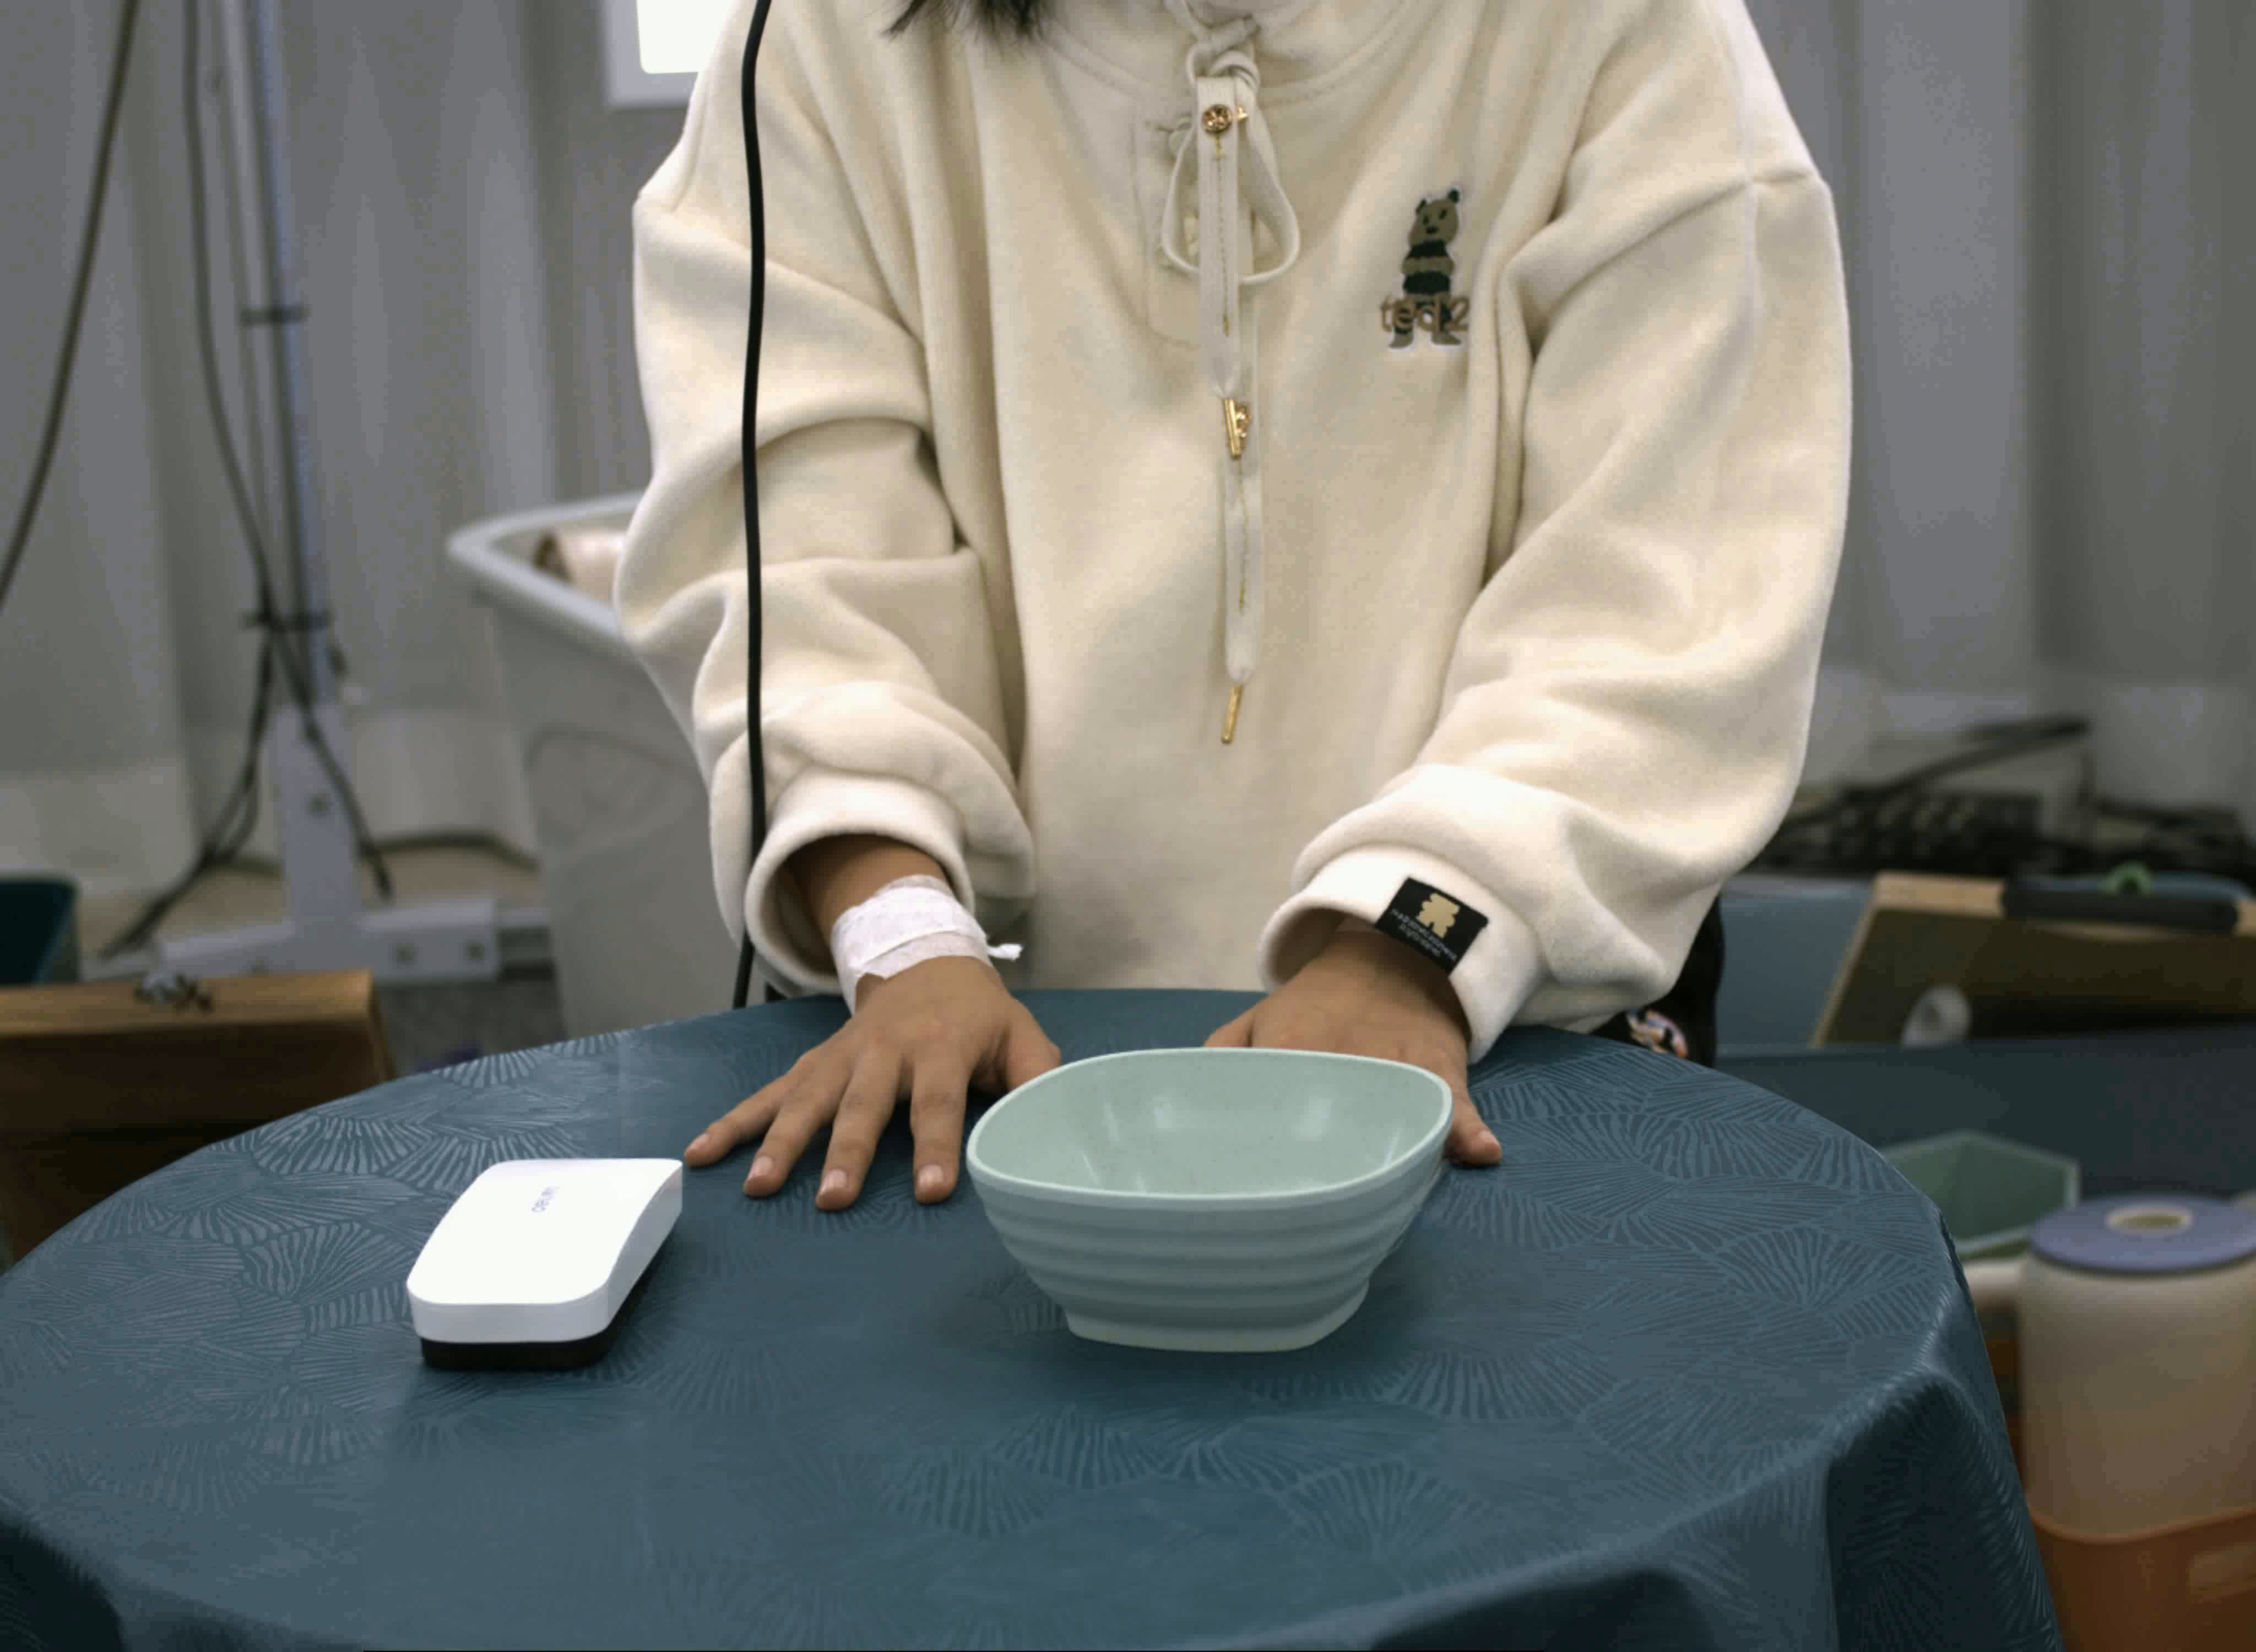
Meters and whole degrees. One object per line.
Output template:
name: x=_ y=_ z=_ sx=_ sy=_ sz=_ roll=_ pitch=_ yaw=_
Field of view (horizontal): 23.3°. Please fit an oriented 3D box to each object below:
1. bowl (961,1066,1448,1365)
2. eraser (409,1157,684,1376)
bowl: x=0.023 y=0.117 z=1.604 sx=0.151 sy=0.058 sz=0.152 roll=-1 pitch=13 yaw=0
eraser: x=-0.171 y=0.128 z=1.640 sx=0.063 sy=0.034 sz=0.132 roll=-1 pitch=15 yaw=8
